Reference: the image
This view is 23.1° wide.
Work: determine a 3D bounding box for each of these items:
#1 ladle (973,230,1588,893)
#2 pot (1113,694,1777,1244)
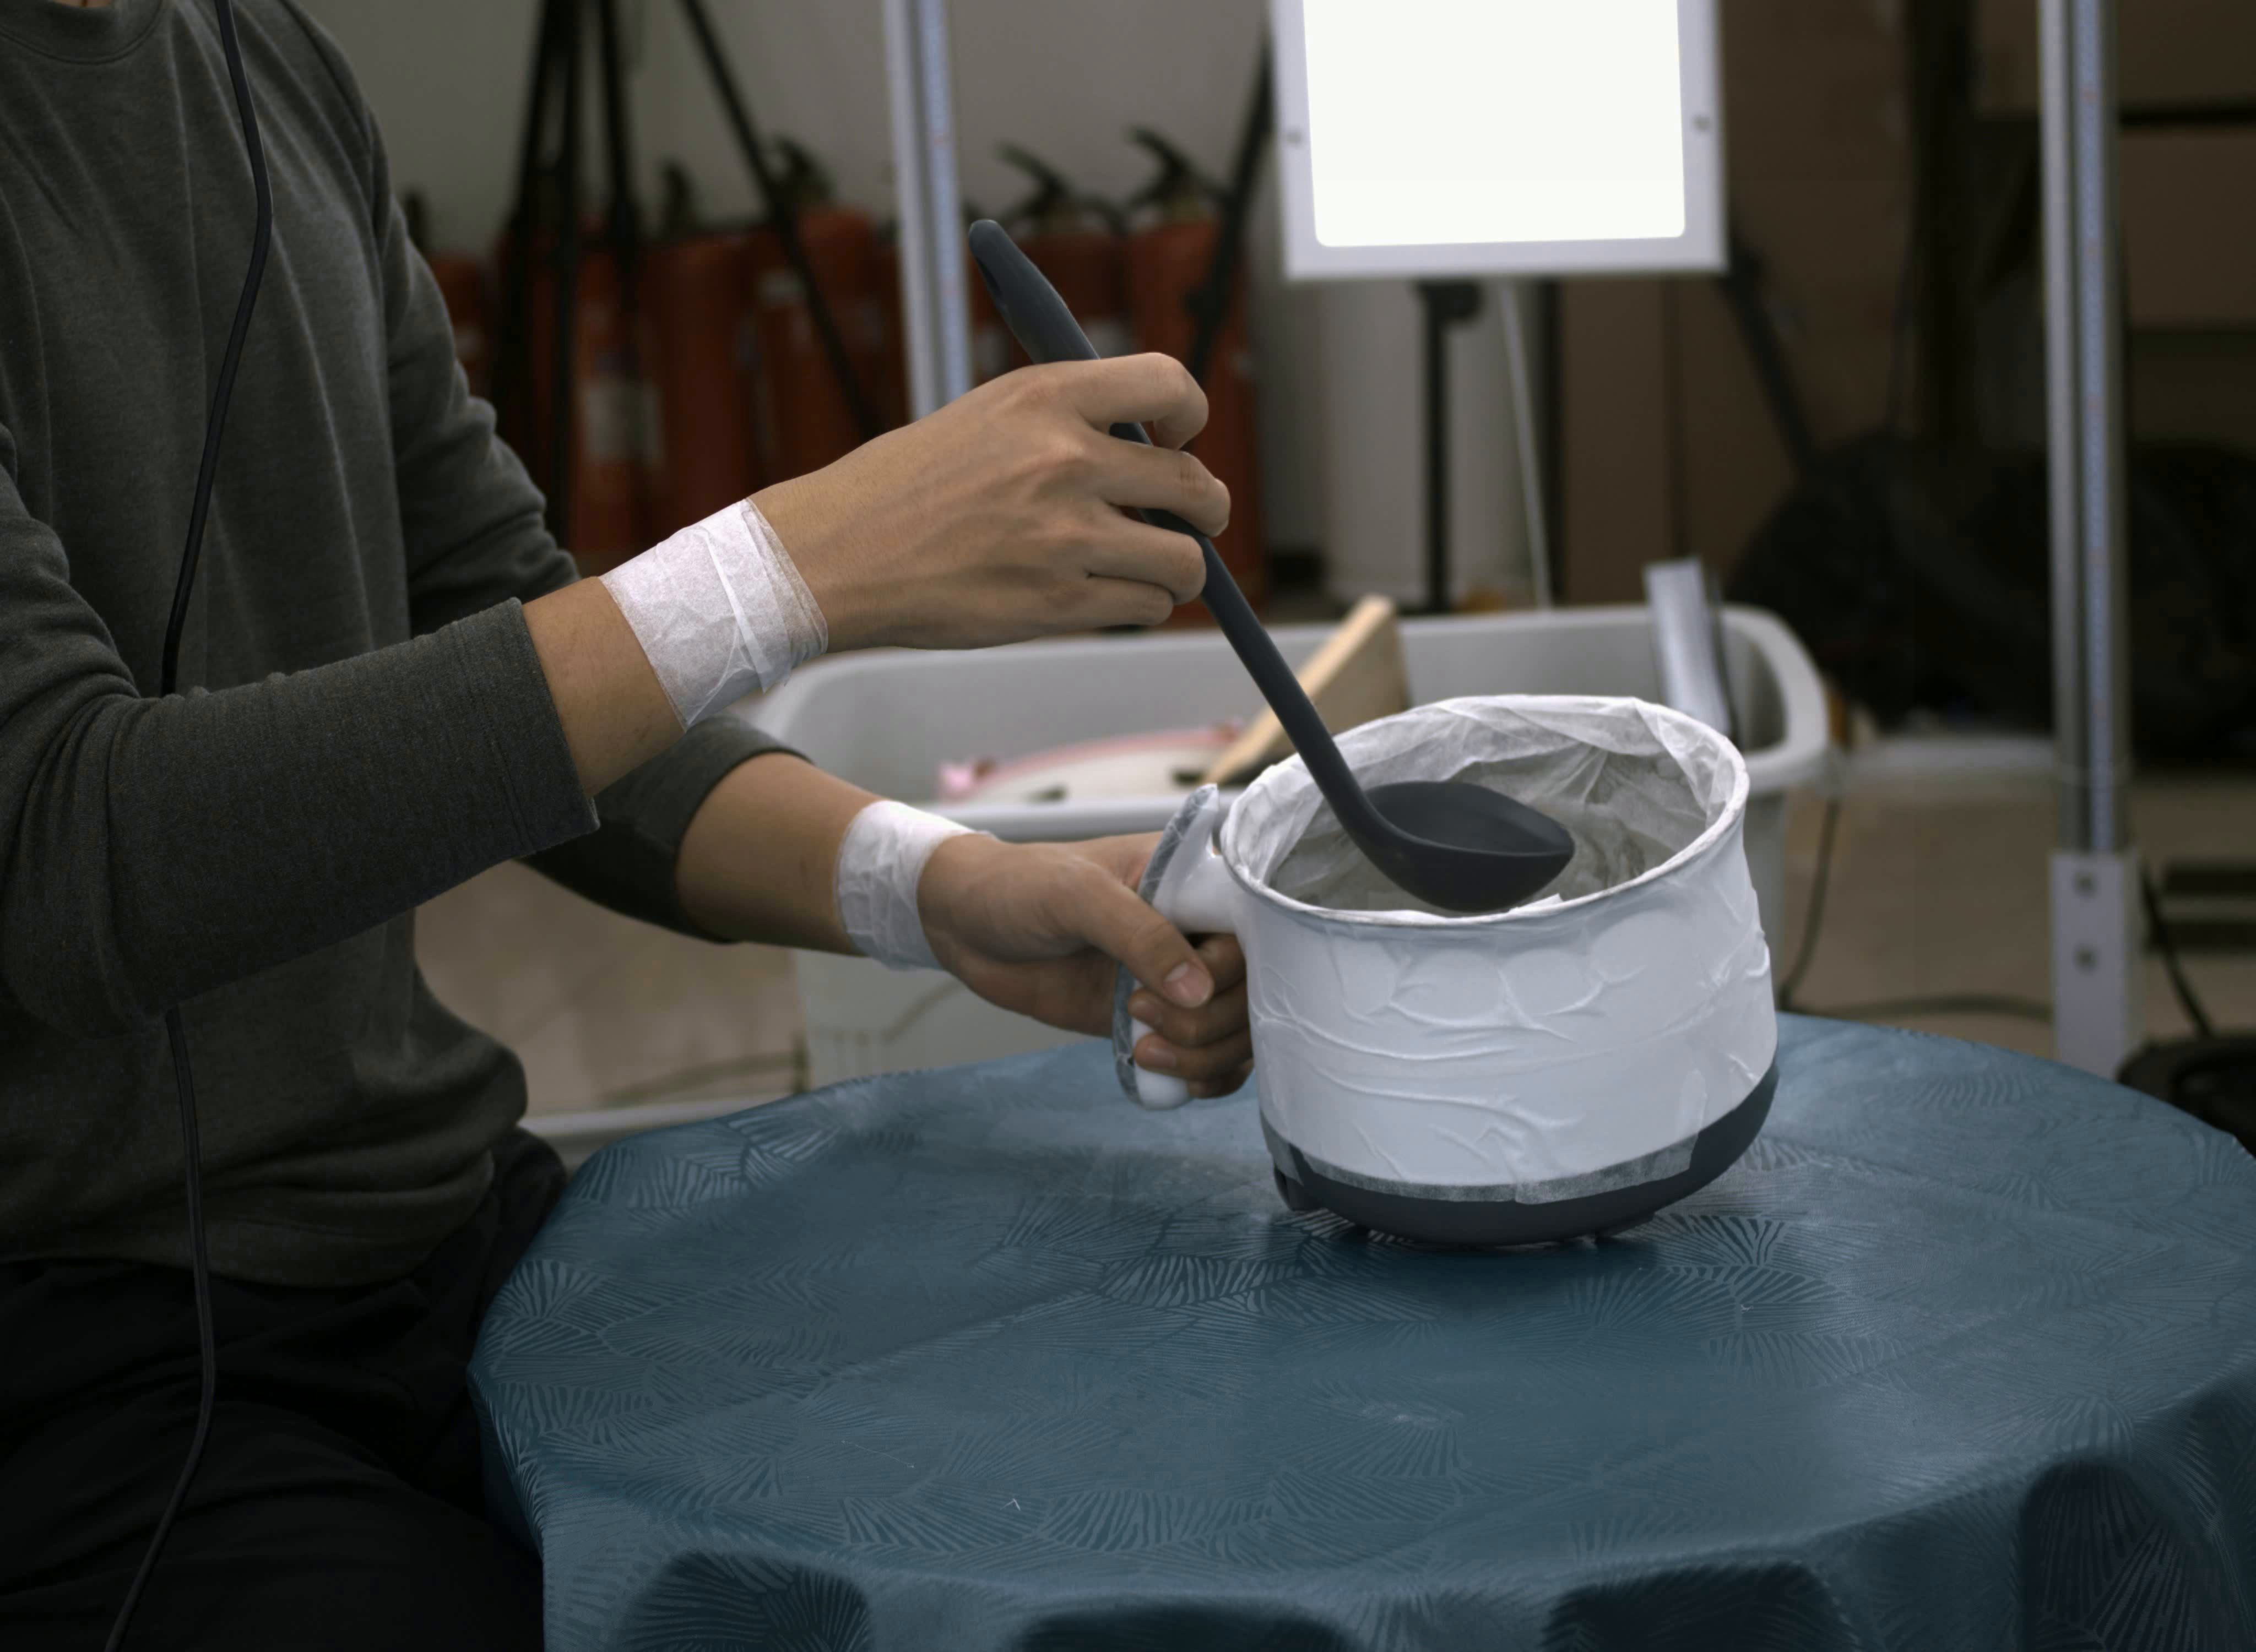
[{"bbox_3d":[0.049,-0.087,1.795,0.063,0.311,0.087,-42,29,-13],"label":"ladle"},{"bbox_3d":[0.102,0.049,1.855,0.237,0.137,0.175,1,25,22],"label":"pot"}]
